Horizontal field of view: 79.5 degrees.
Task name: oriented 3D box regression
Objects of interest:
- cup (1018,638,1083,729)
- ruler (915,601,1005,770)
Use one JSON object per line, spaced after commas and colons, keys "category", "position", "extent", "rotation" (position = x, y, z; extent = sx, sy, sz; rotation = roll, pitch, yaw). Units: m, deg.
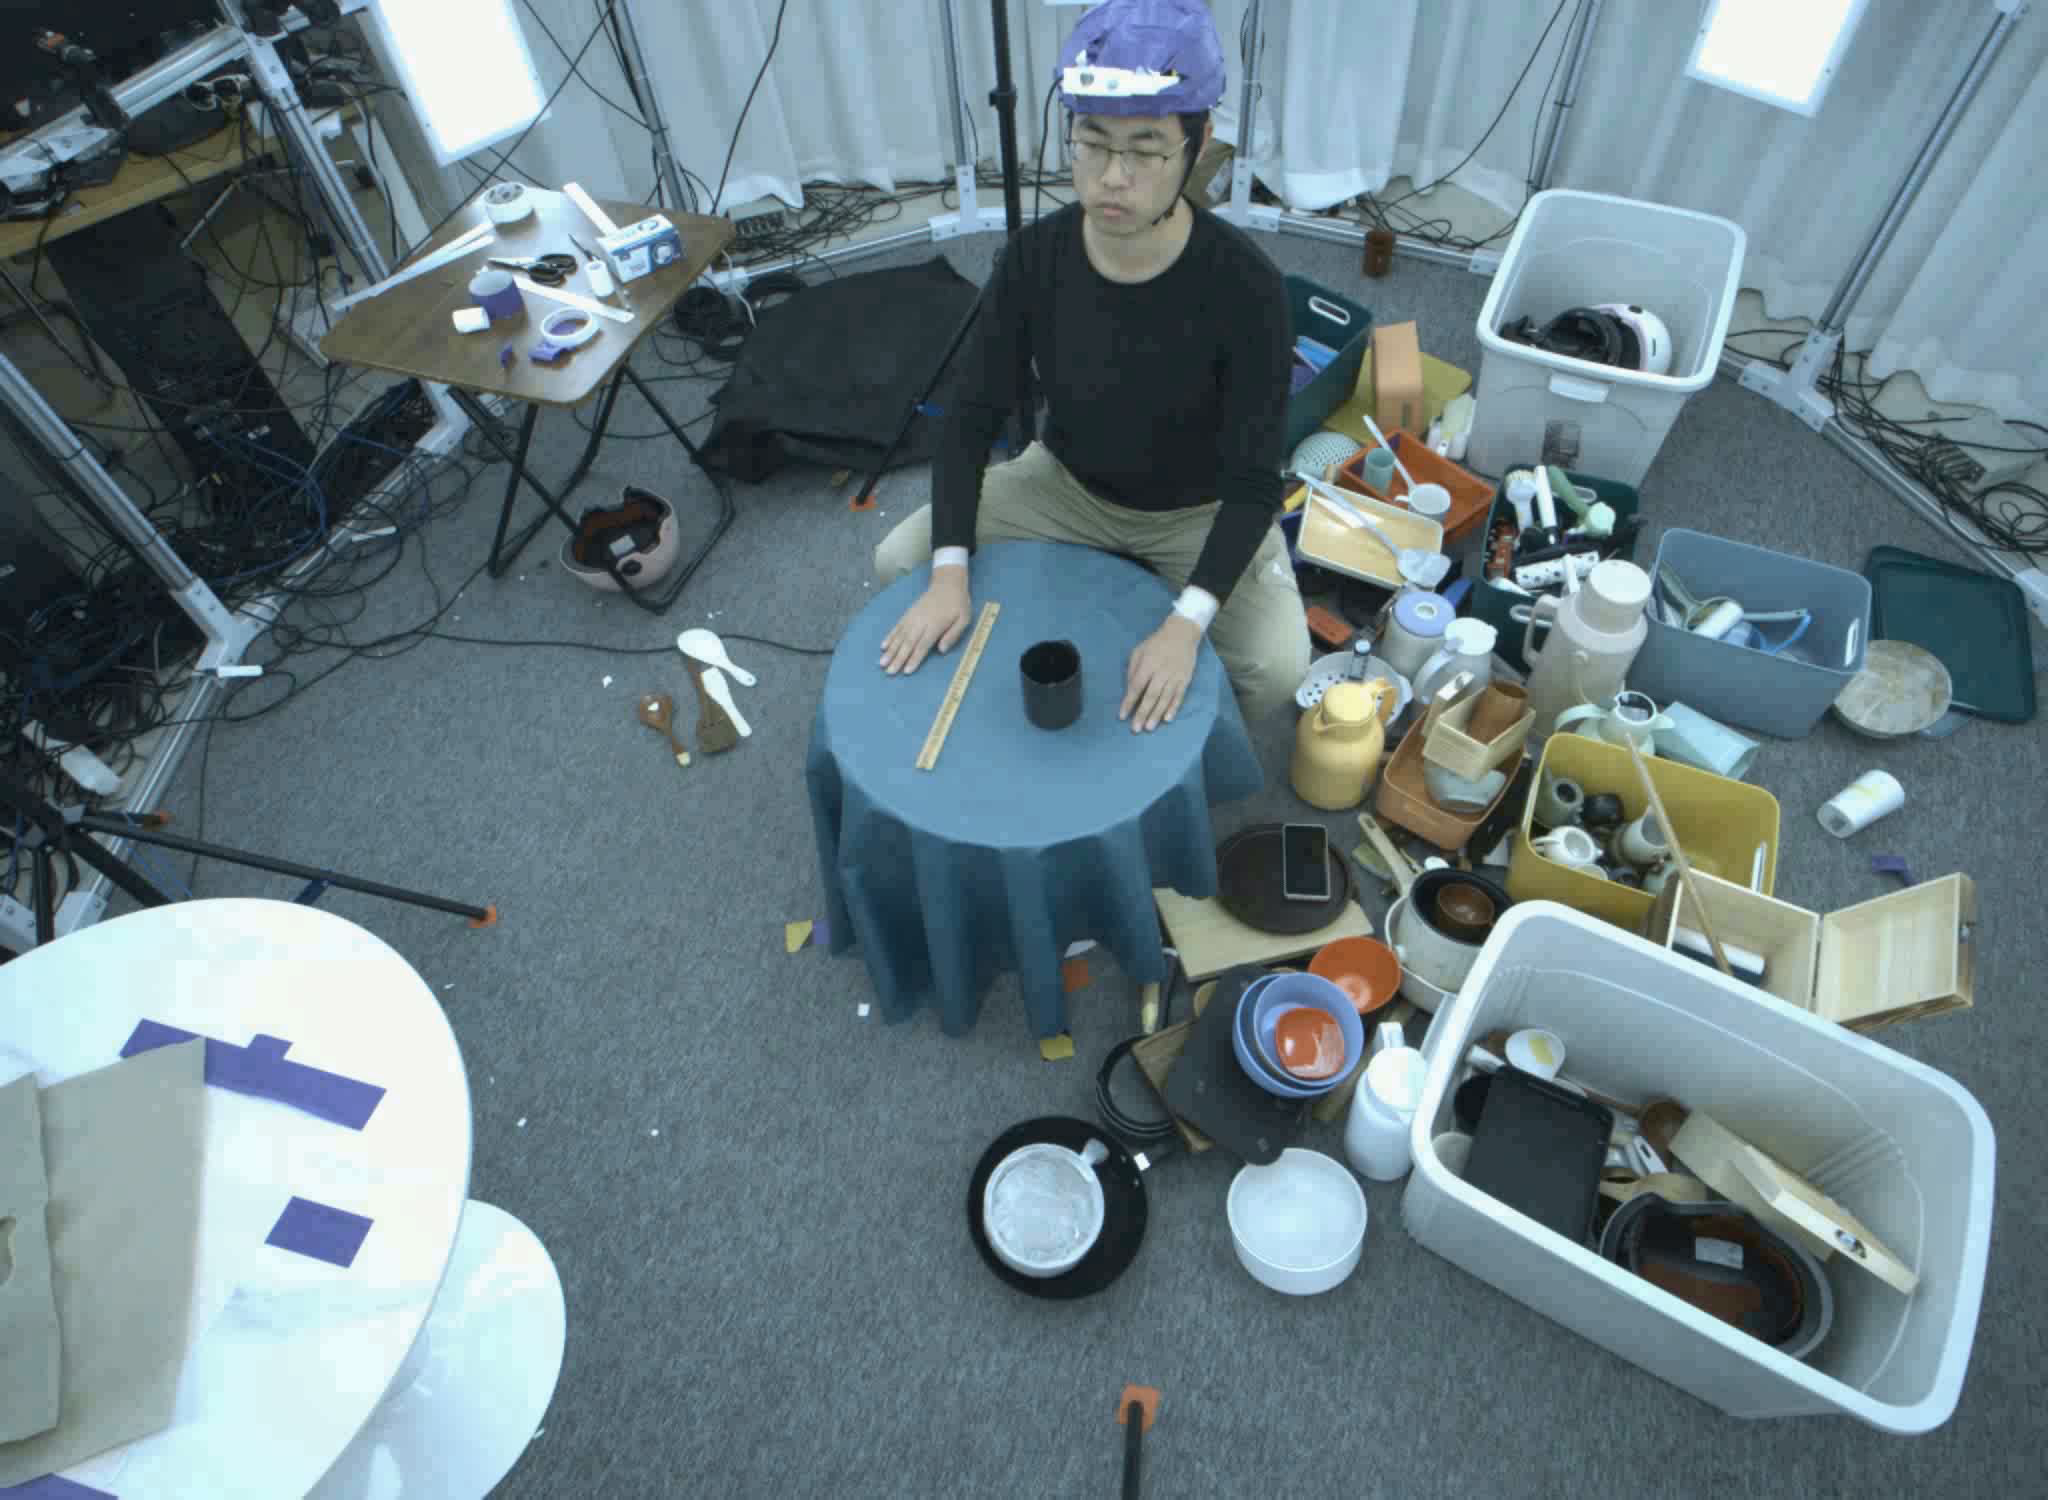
{"category": "cup", "position": [0.045, -0.108, 1.800], "extent": [0.088, 0.106, 0.123], "rotation": [13, 56, 14]}
{"category": "ruler", "position": [-0.095, -0.106, 1.860], "extent": [0.027, 0.022, 0.331], "rotation": [17, 57, 9]}
